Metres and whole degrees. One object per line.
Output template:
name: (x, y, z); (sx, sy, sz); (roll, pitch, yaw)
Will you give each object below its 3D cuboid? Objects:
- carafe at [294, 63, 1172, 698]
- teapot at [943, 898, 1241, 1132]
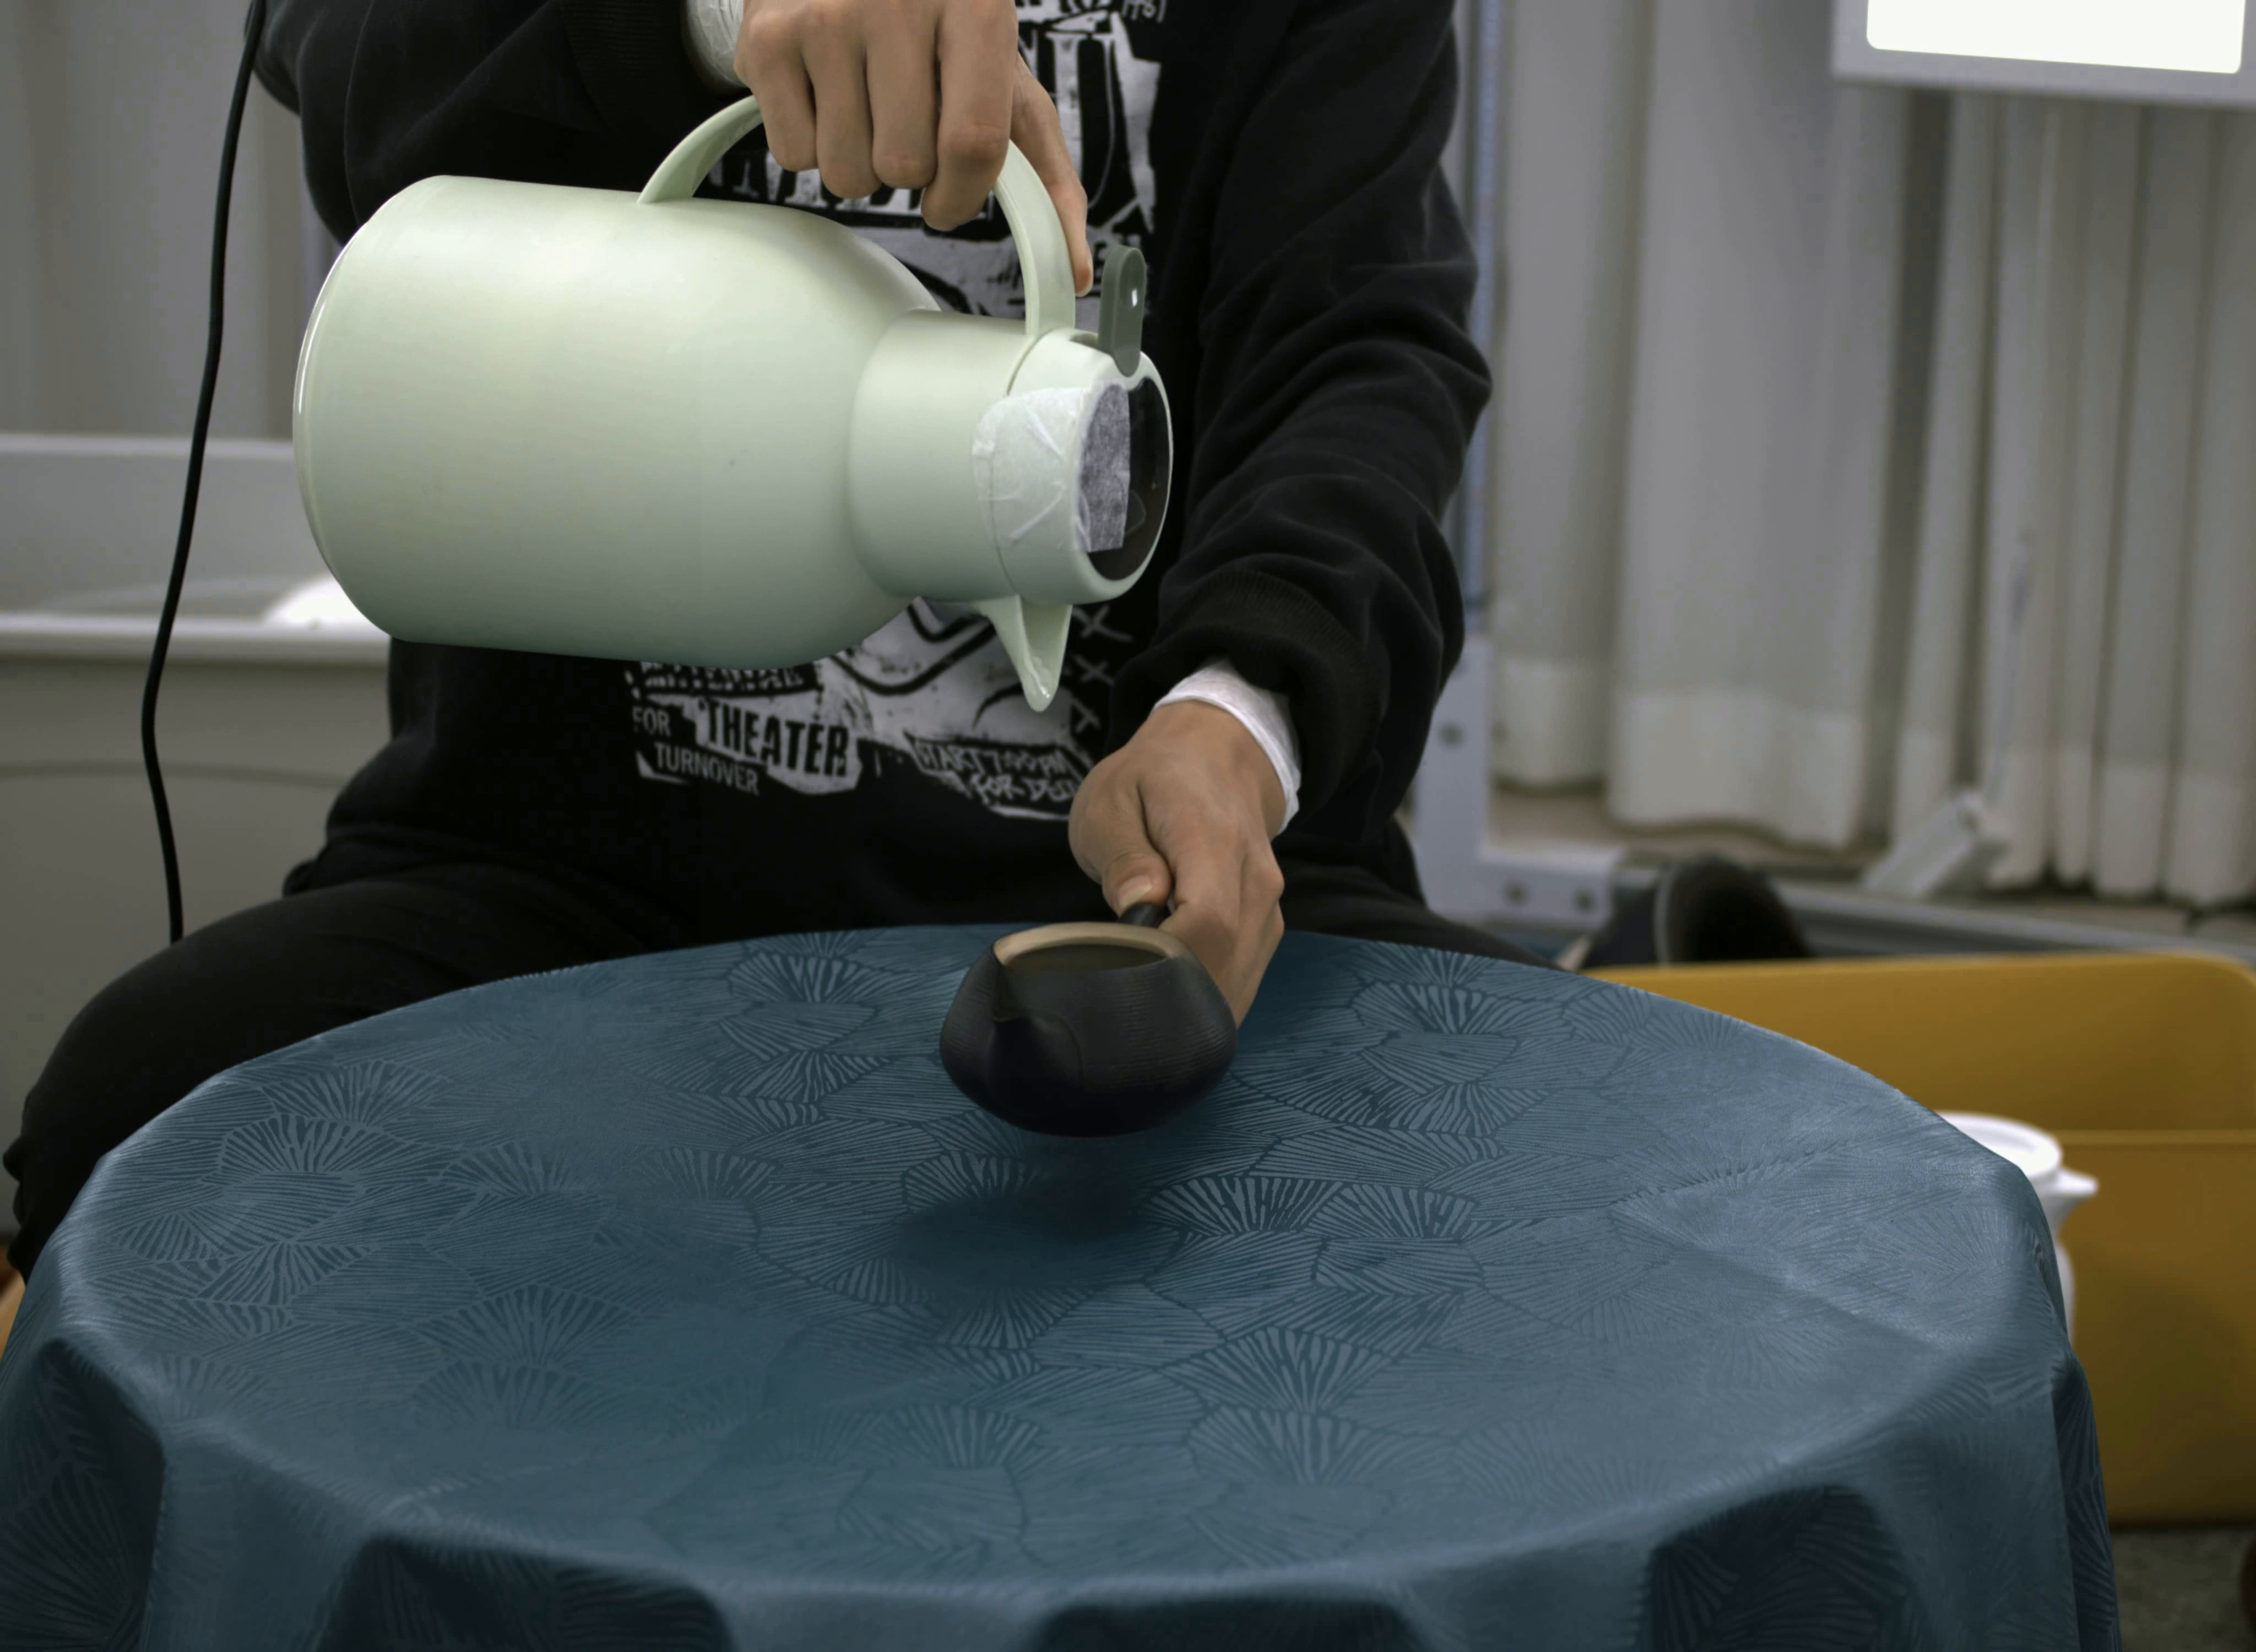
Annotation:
carafe: (-0.114, -0.135, 1.585); (0.254, 0.188, 0.145); (3, 9, 25)
teapot: (-0.011, 0.060, 1.595); (0.090, 0.053, 0.133); (6, 17, 20)
